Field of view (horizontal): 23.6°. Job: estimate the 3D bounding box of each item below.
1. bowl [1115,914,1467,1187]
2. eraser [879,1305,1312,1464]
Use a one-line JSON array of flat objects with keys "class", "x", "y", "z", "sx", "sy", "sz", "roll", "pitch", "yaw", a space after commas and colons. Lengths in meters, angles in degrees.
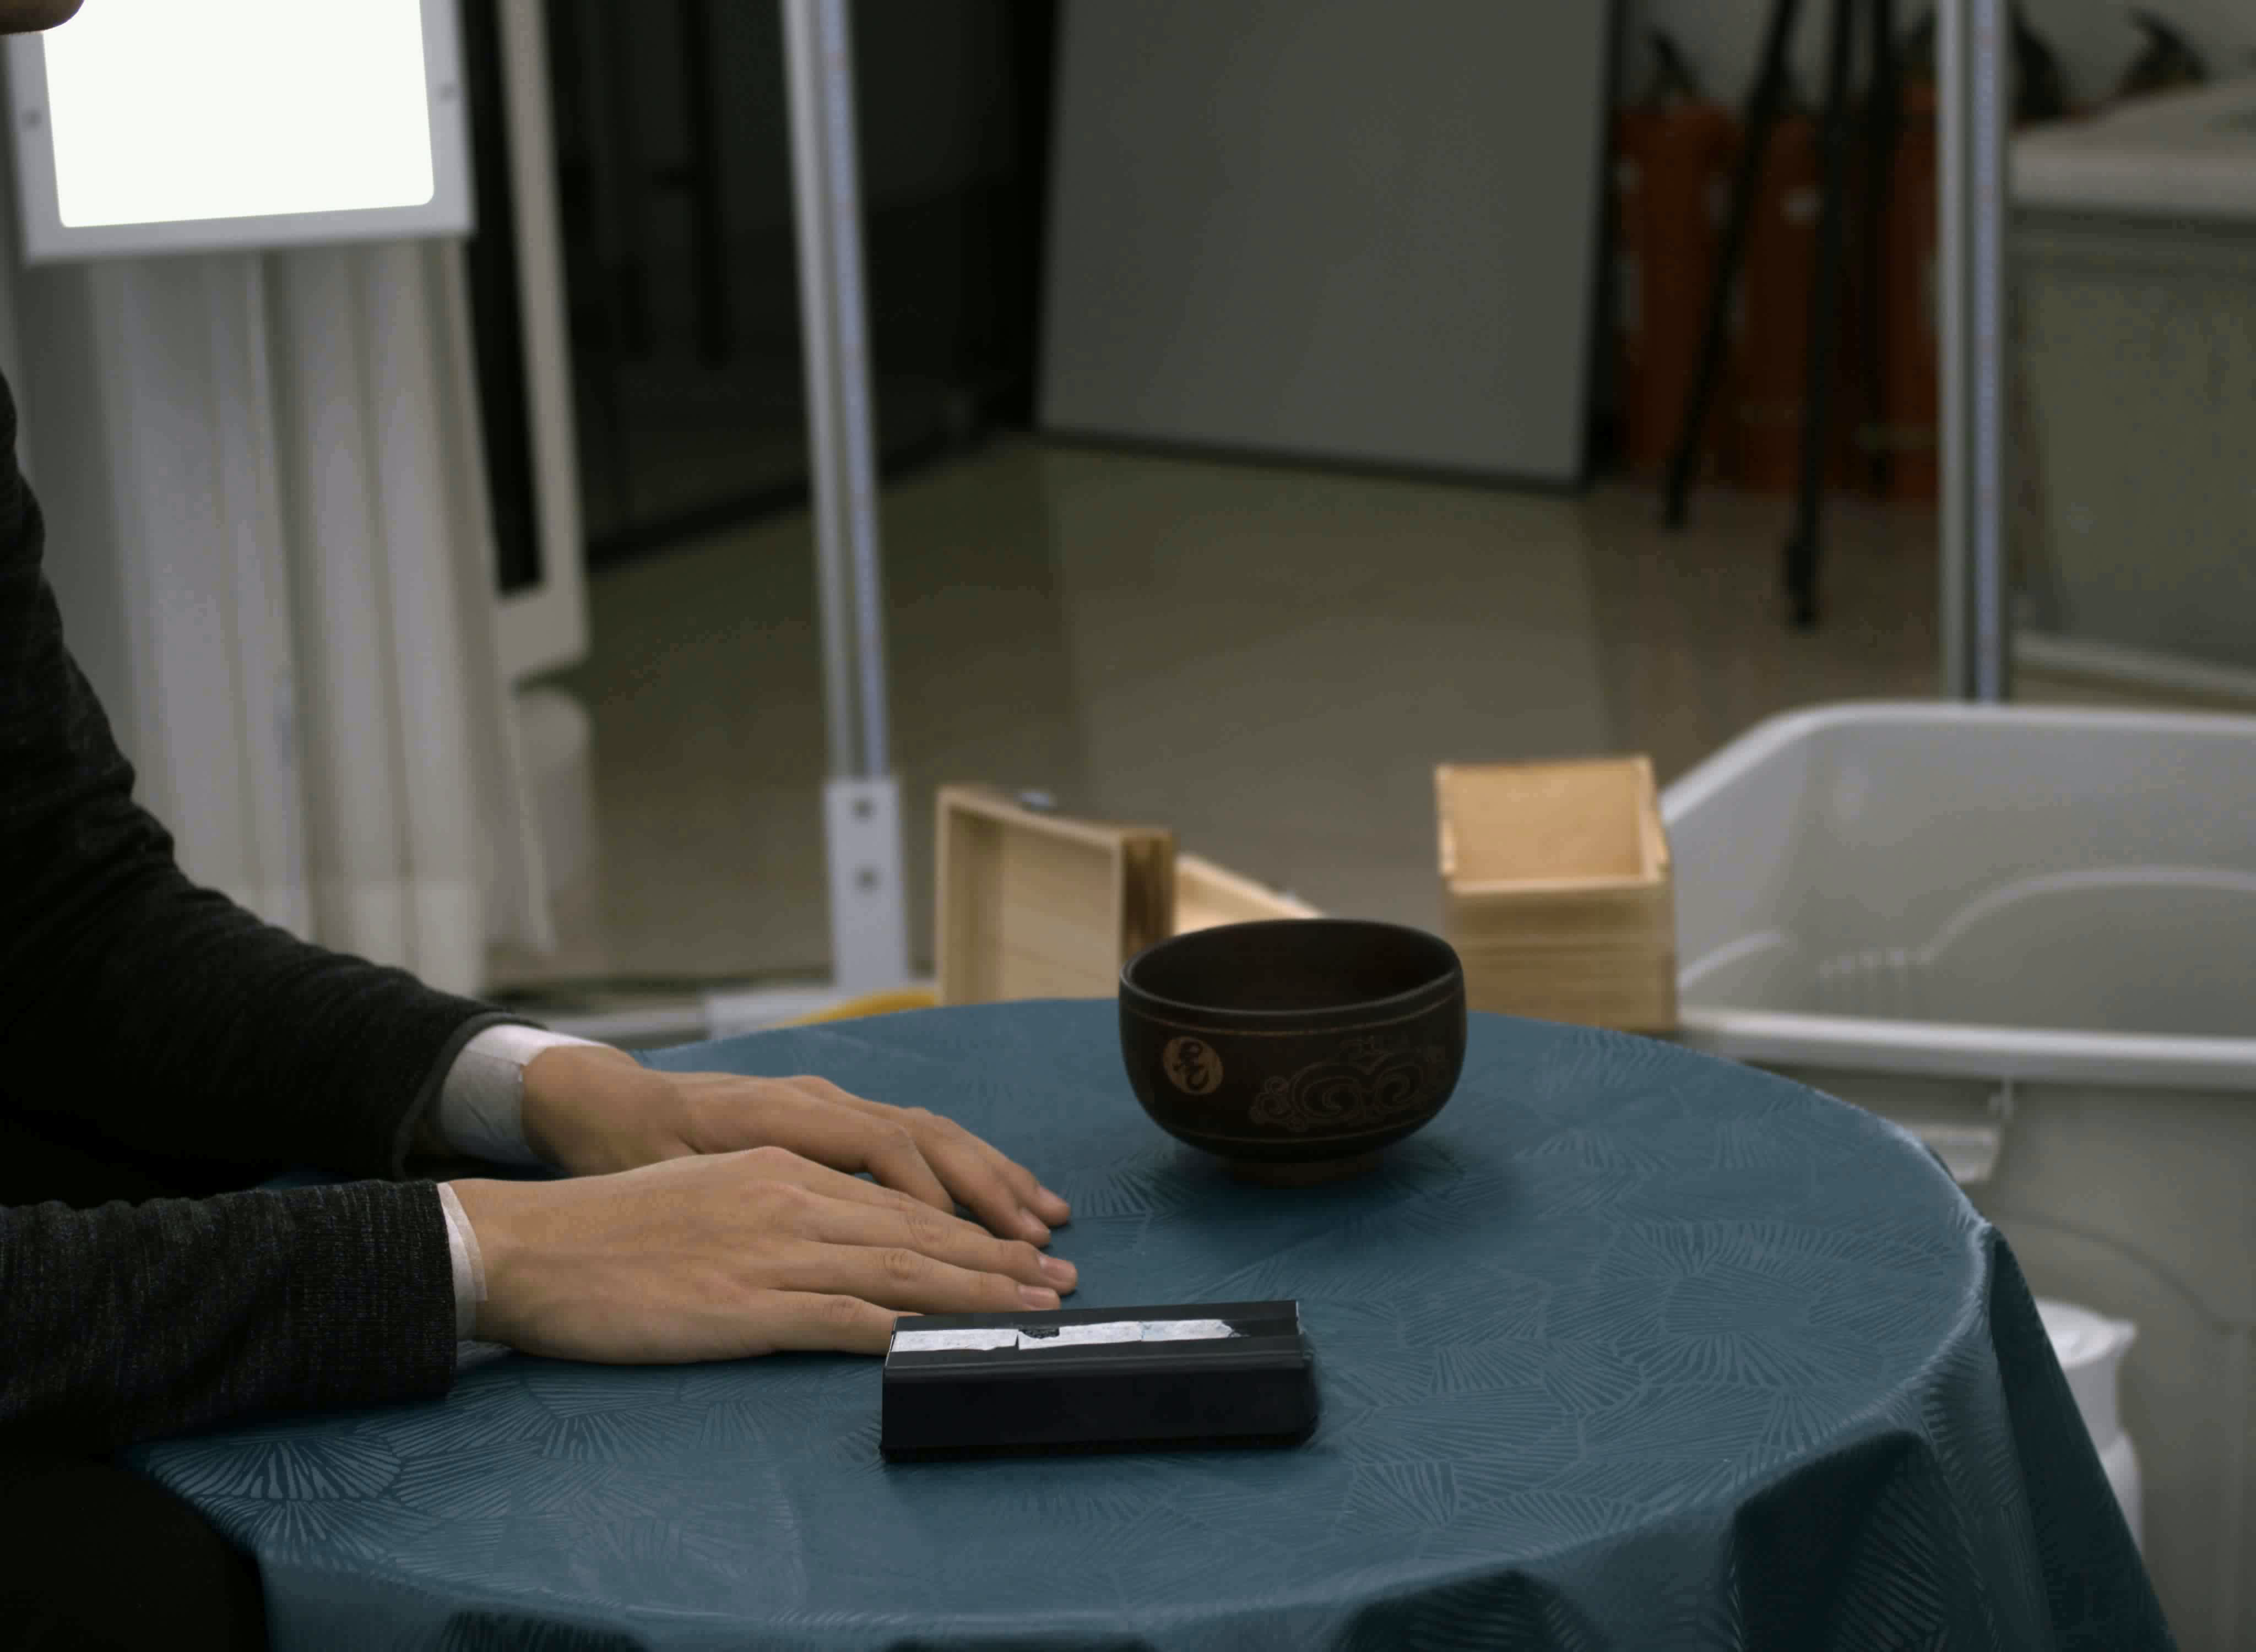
[{"class": "bowl", "x": 0.055, "y": 0.078, "z": 1.781, "sx": 0.116, "sy": 0.070, "sz": 0.118, "roll": -5, "pitch": 14, "yaw": 0}, {"class": "eraser", "x": -0.008, "y": 0.160, "z": 1.553, "sx": 0.124, "sy": 0.031, "sz": 0.053, "roll": -4, "pitch": 11, "yaw": 3}]
